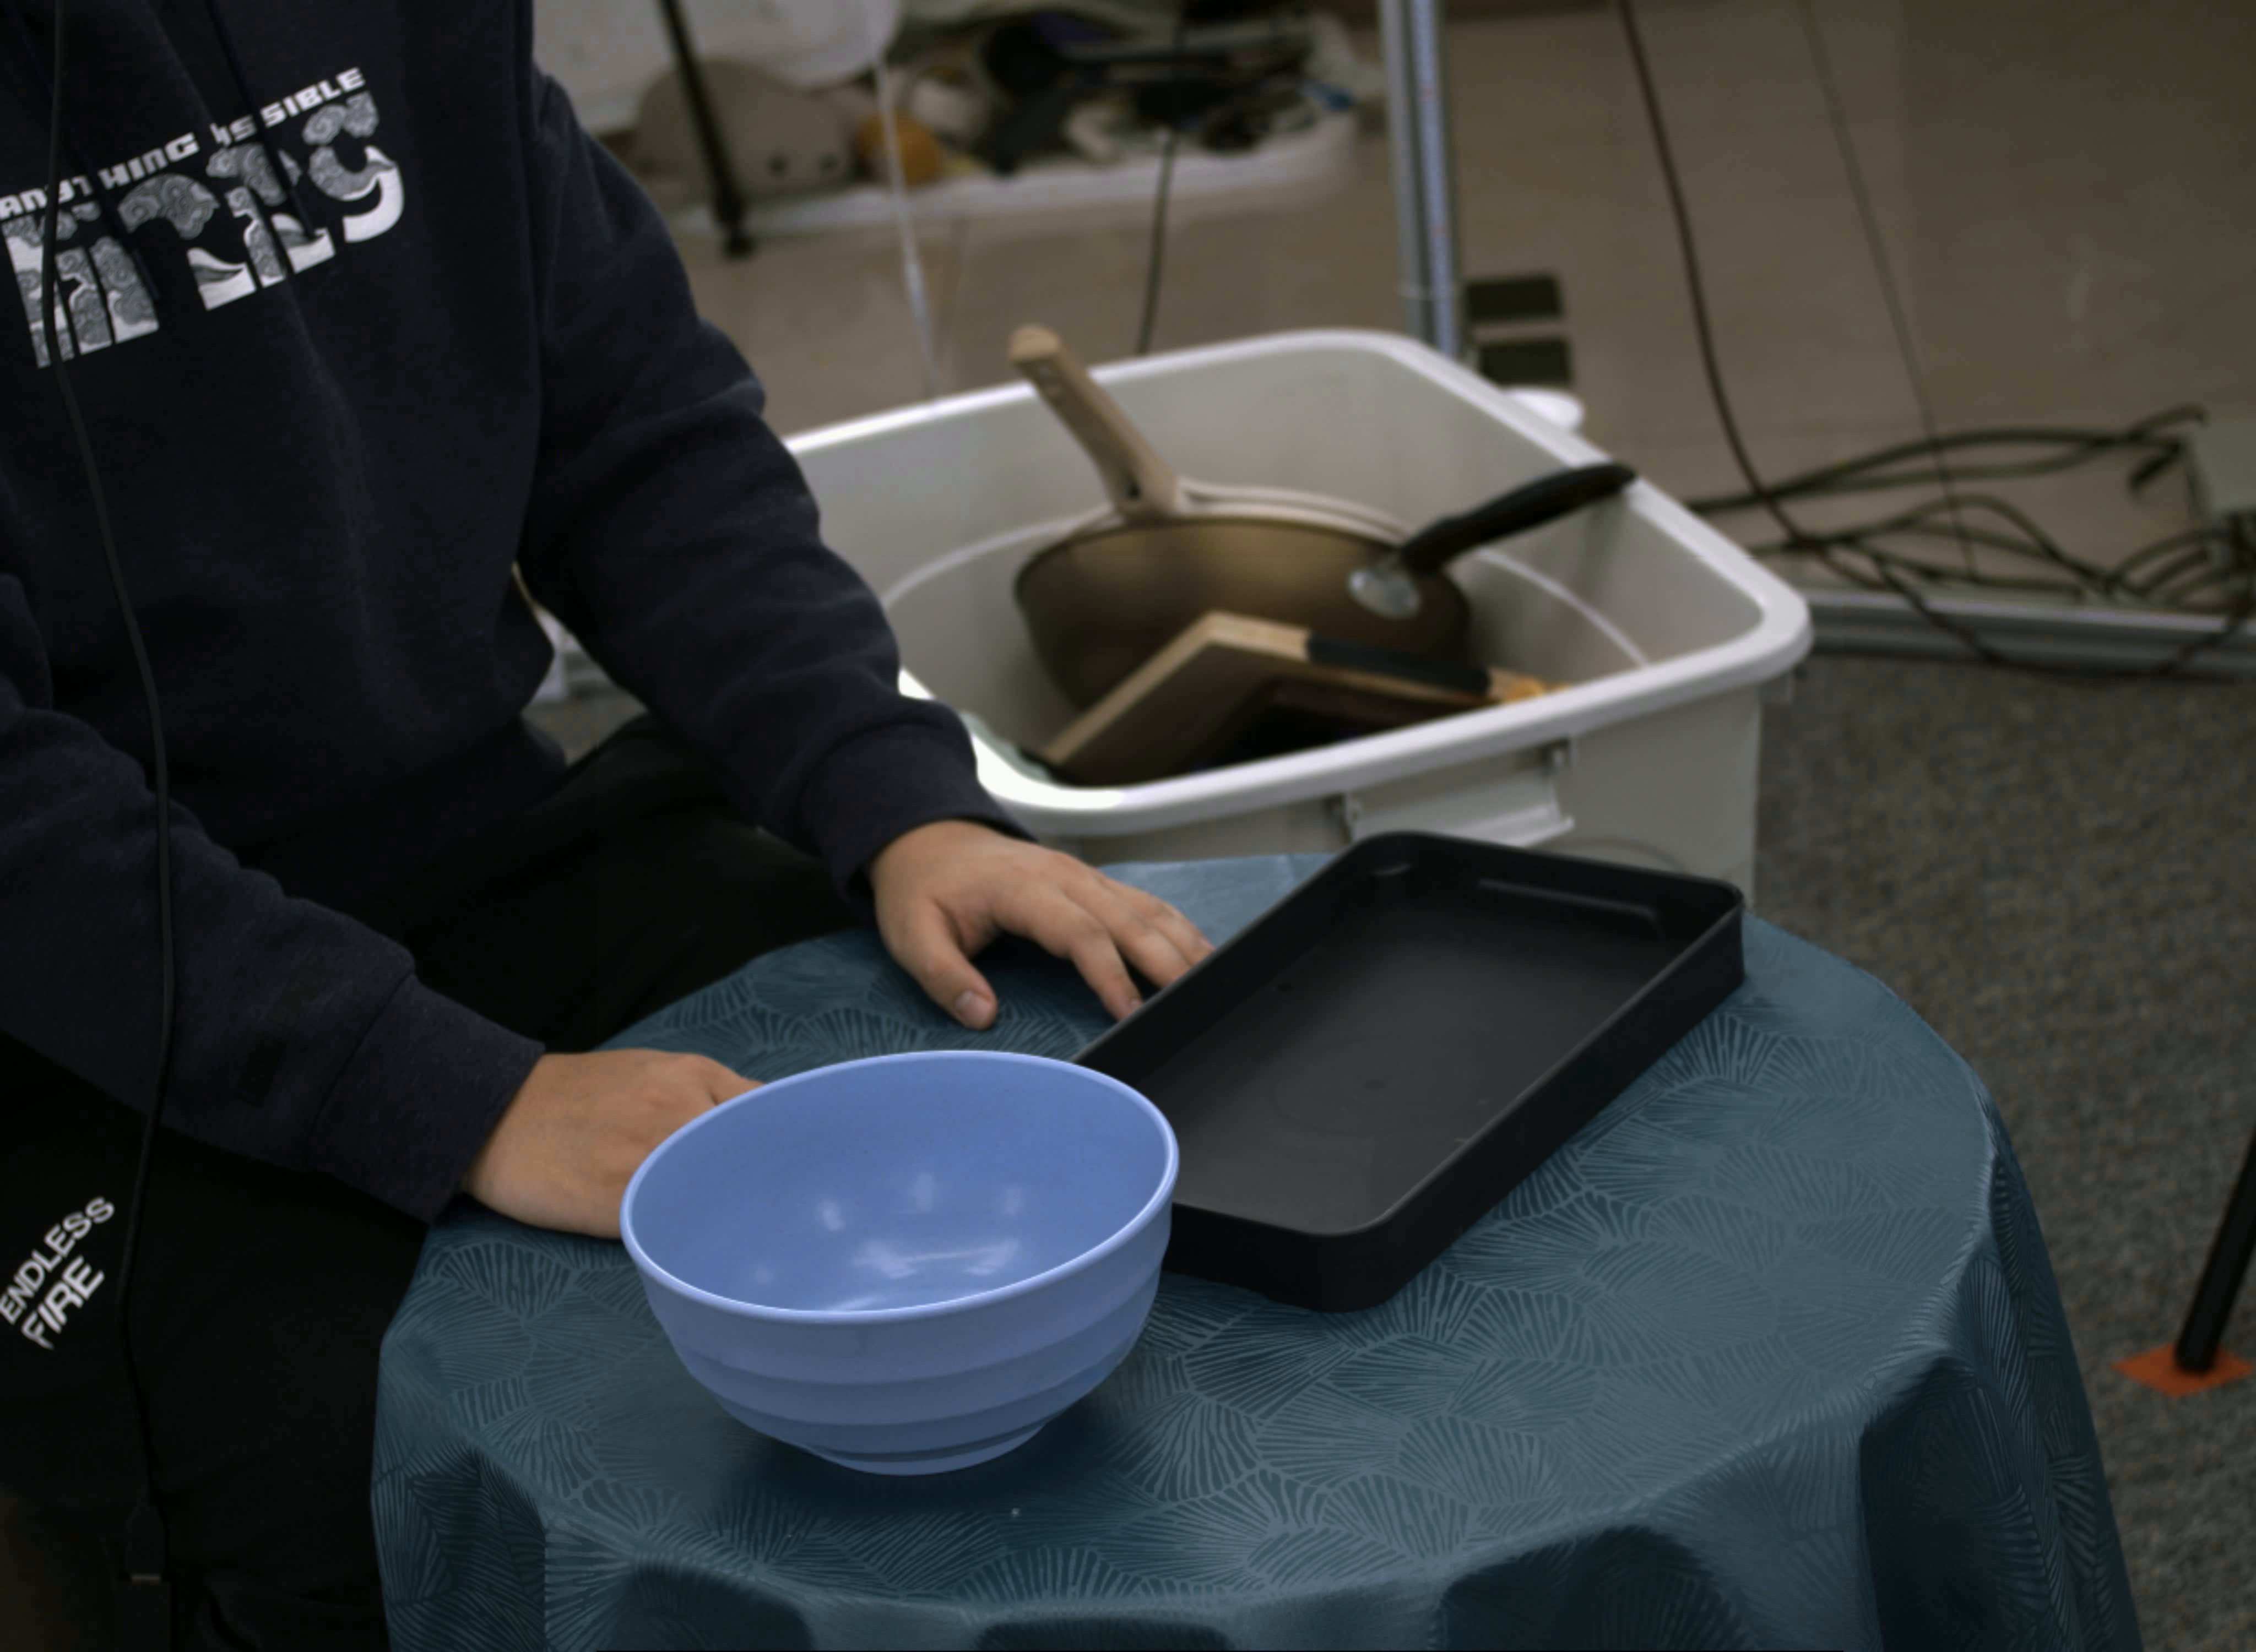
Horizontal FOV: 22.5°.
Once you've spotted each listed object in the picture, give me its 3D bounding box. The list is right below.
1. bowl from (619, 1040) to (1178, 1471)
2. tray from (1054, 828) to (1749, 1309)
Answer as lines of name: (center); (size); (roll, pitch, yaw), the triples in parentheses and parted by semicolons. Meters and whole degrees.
bowl: (-0.075, 0.162, 1.995); (0.196, 0.097, 0.193); (-6, 27, 3)
tray: (0.094, 0.088, 2.191); (0.183, 0.037, 0.314); (10, 29, 33)
